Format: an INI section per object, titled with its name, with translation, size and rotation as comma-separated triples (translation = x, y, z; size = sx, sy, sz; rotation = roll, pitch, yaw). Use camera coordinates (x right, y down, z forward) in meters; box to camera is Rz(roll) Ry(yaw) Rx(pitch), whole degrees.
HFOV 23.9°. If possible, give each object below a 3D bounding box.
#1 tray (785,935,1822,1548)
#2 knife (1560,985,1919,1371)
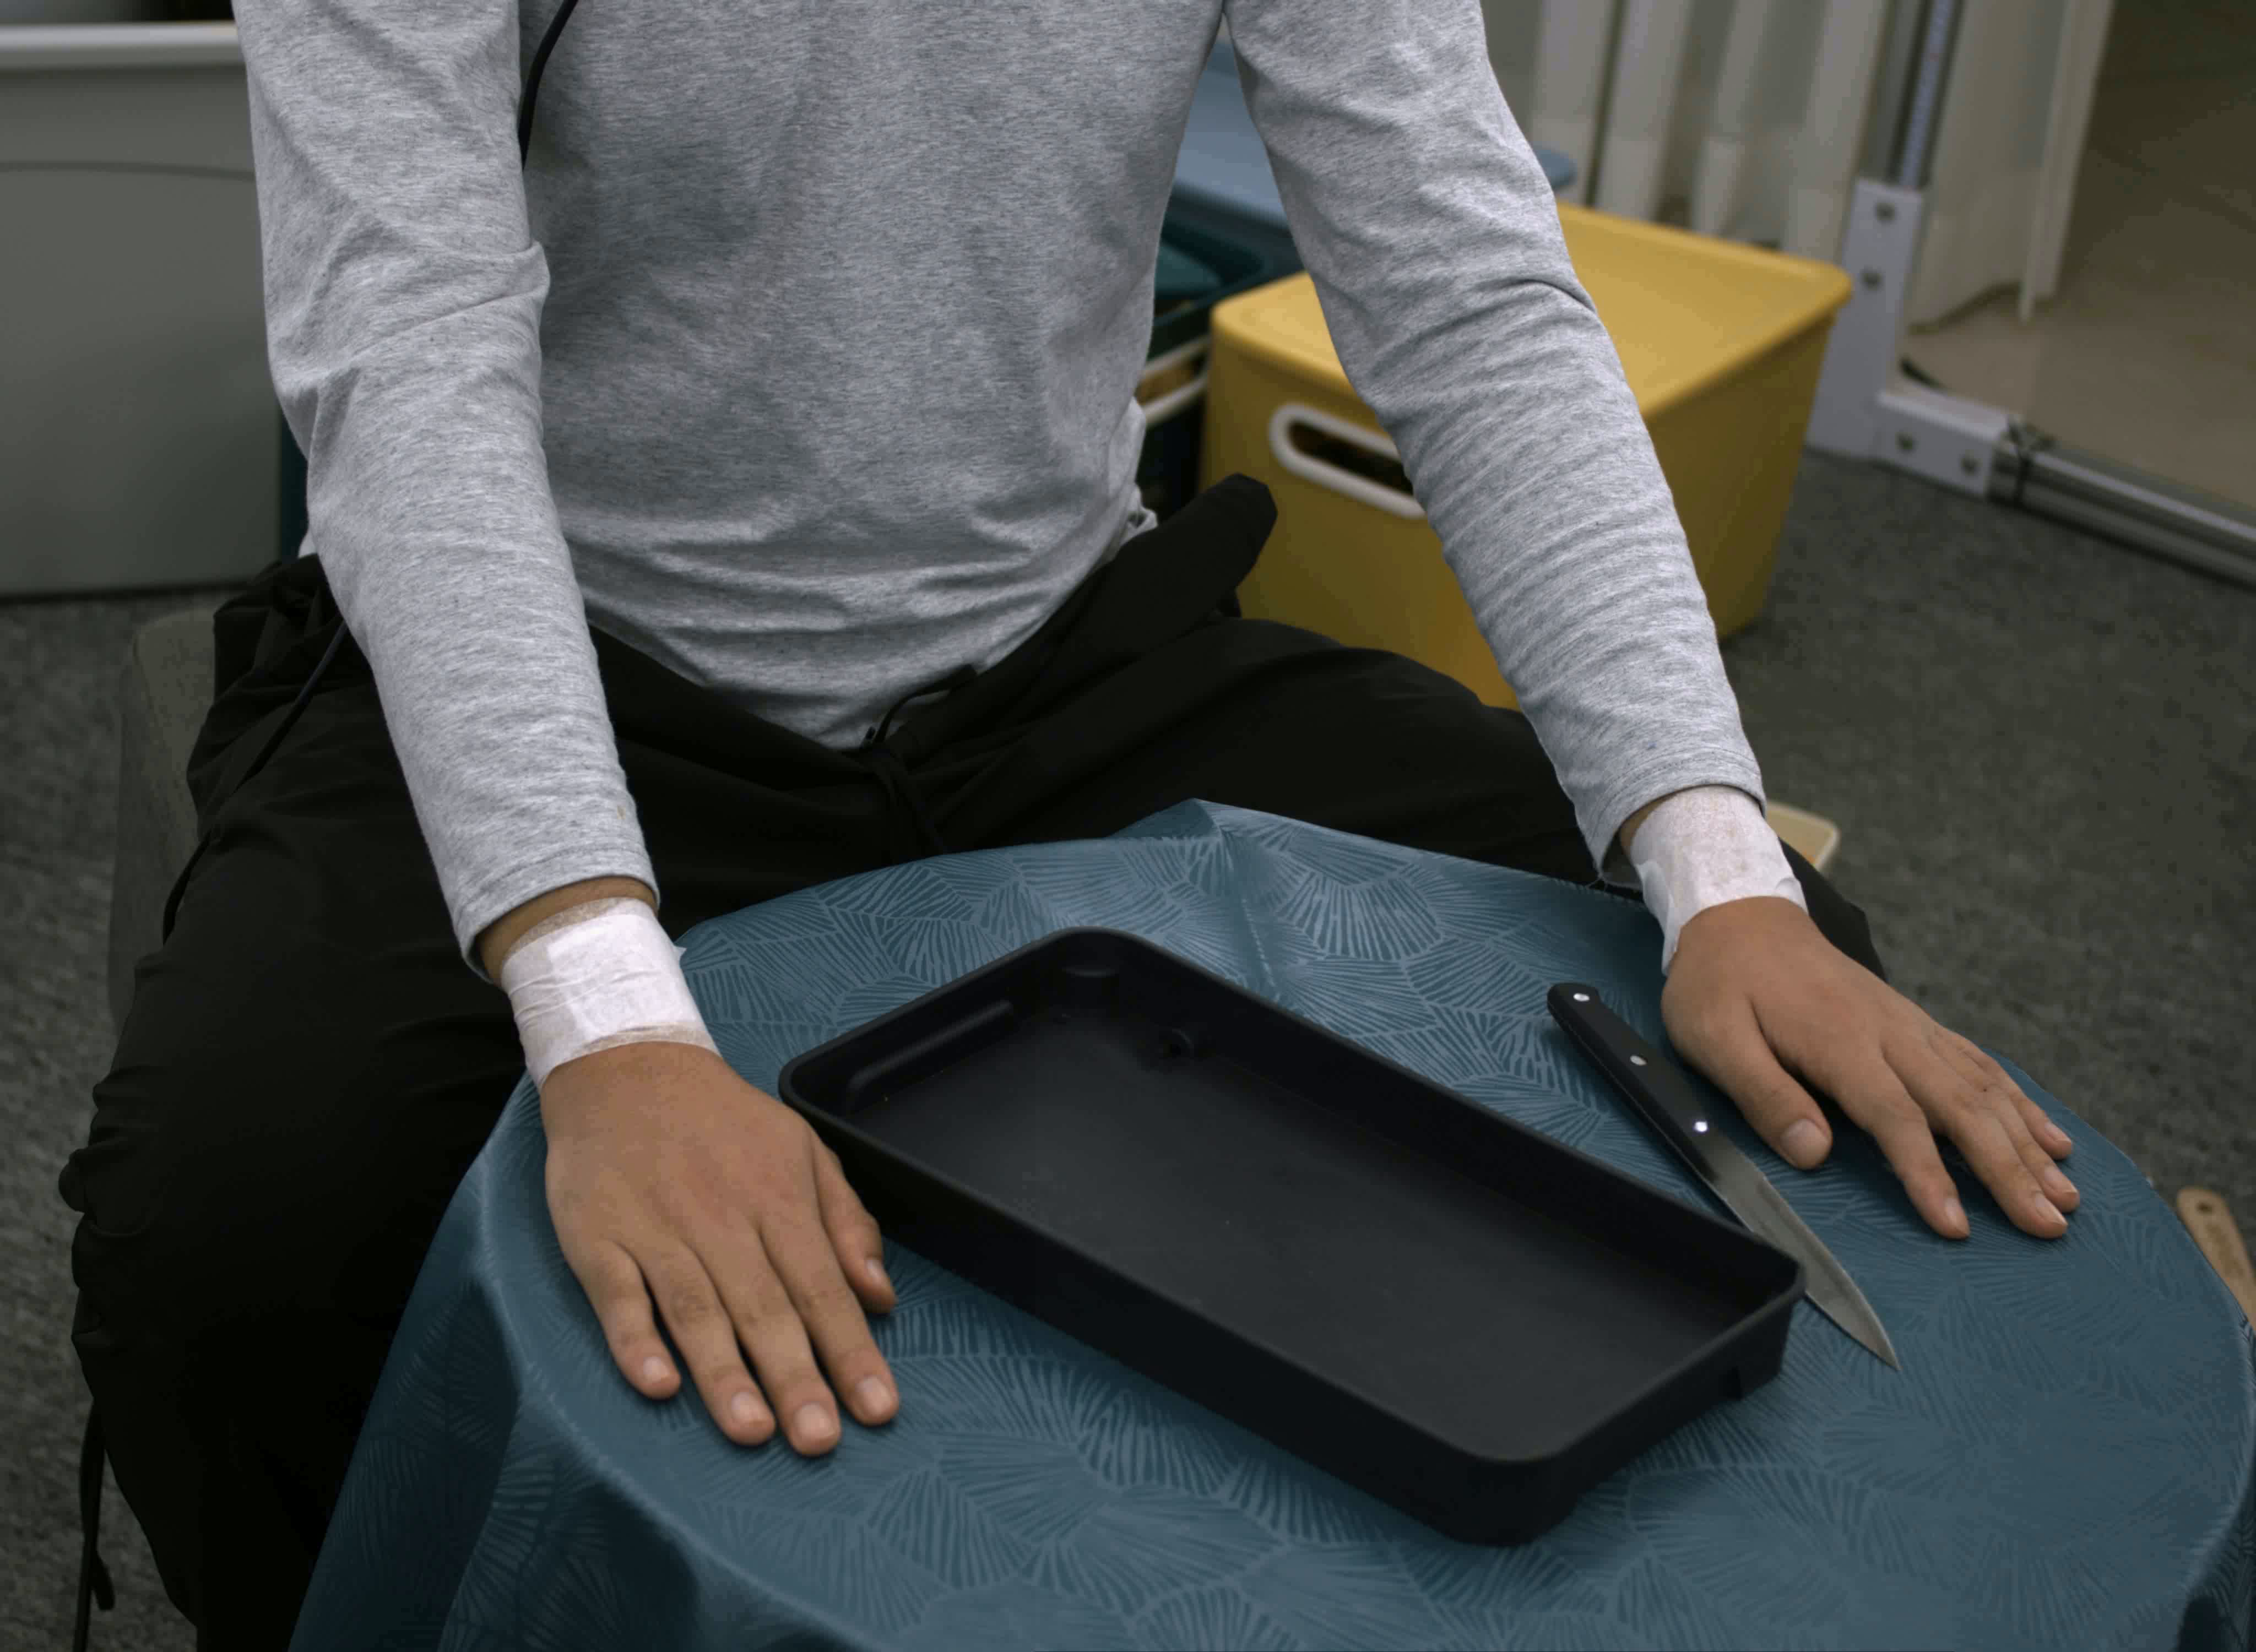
[tray]
translation = 0.054, 0.131, 1.763
size = 0.320, 0.037, 0.183
rotation = 24, 31, 31
[knife]
translation = 0.209, 0.122, 1.845
size = 0.024, 0.016, 0.240
rotation = -9, 33, -22
